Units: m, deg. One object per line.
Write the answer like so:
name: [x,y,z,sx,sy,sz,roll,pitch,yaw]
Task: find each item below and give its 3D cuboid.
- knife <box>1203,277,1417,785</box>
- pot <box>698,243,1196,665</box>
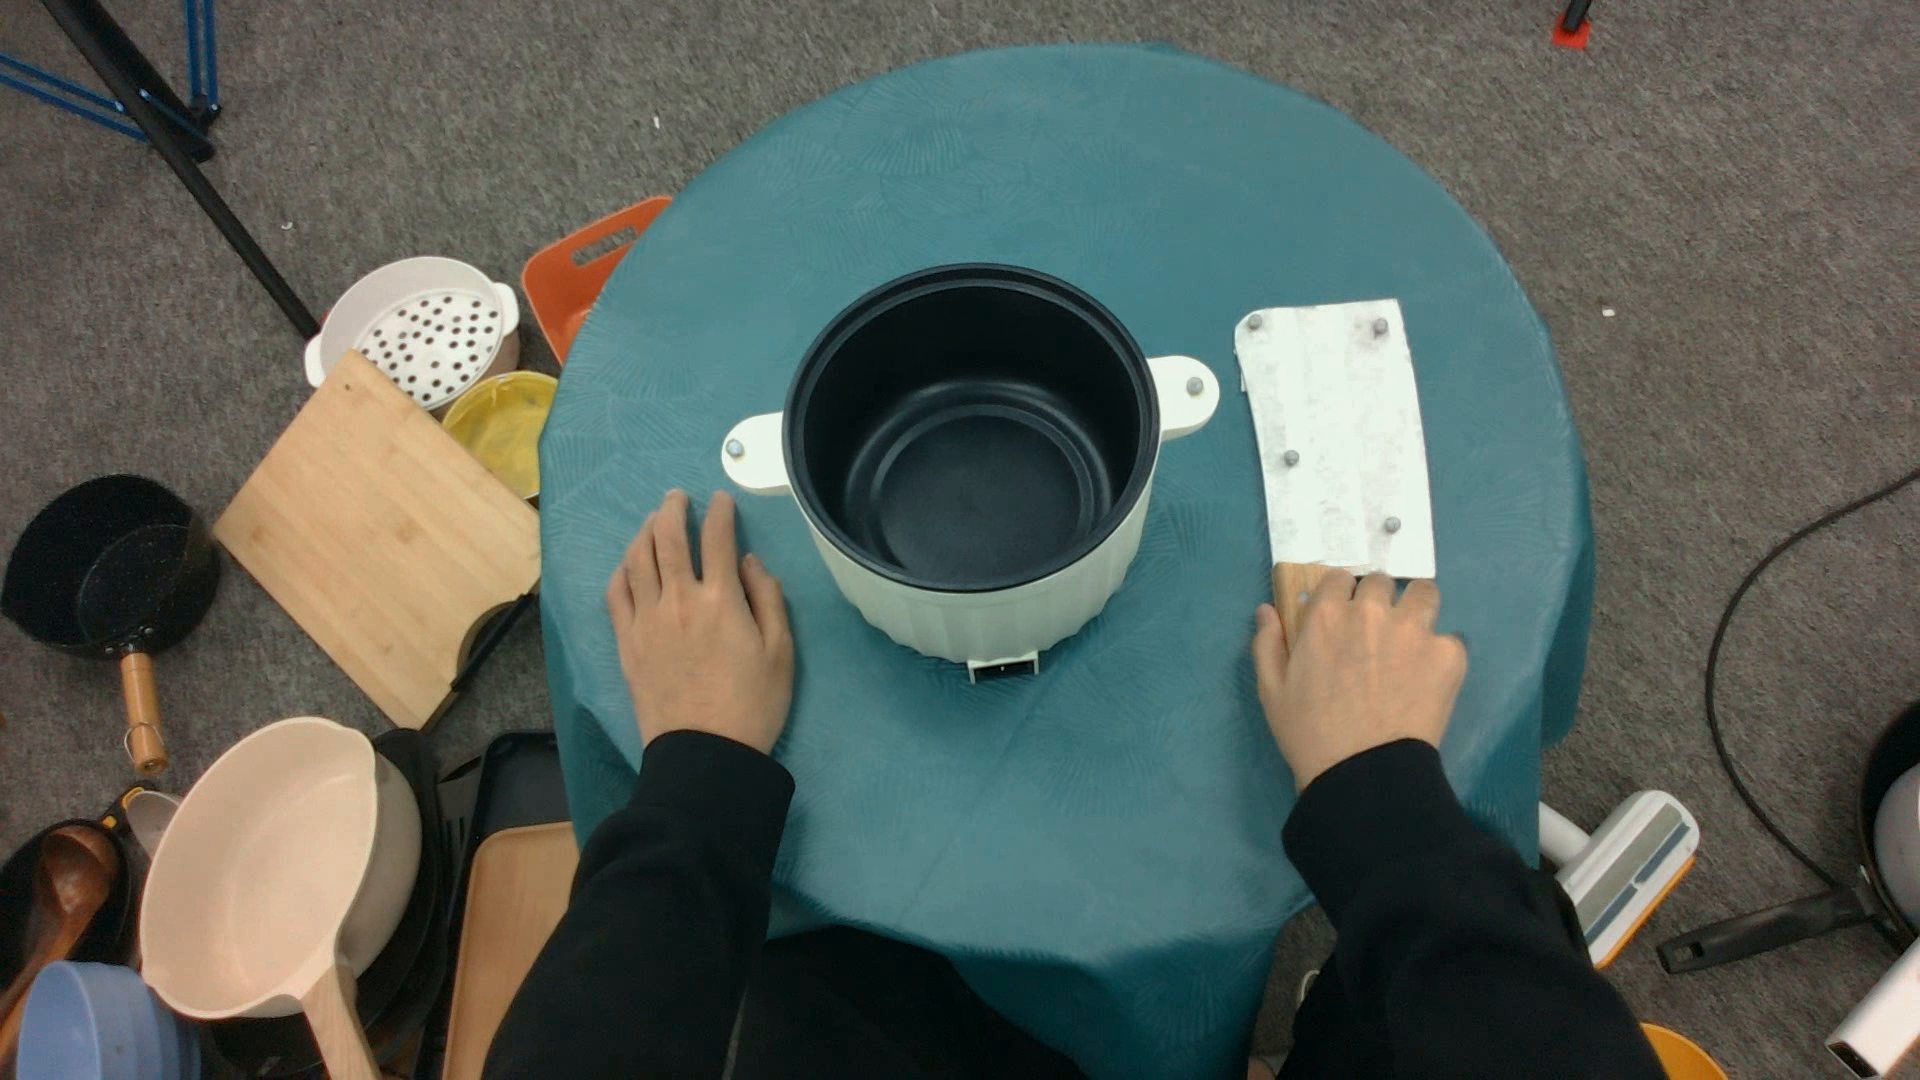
knife: [0.192,-0.019,0.758,0.114,0.021,0.316,3,62,4]
pot: [-0.005,-0.044,0.714,0.240,0.142,0.191,-9,68,-2]
